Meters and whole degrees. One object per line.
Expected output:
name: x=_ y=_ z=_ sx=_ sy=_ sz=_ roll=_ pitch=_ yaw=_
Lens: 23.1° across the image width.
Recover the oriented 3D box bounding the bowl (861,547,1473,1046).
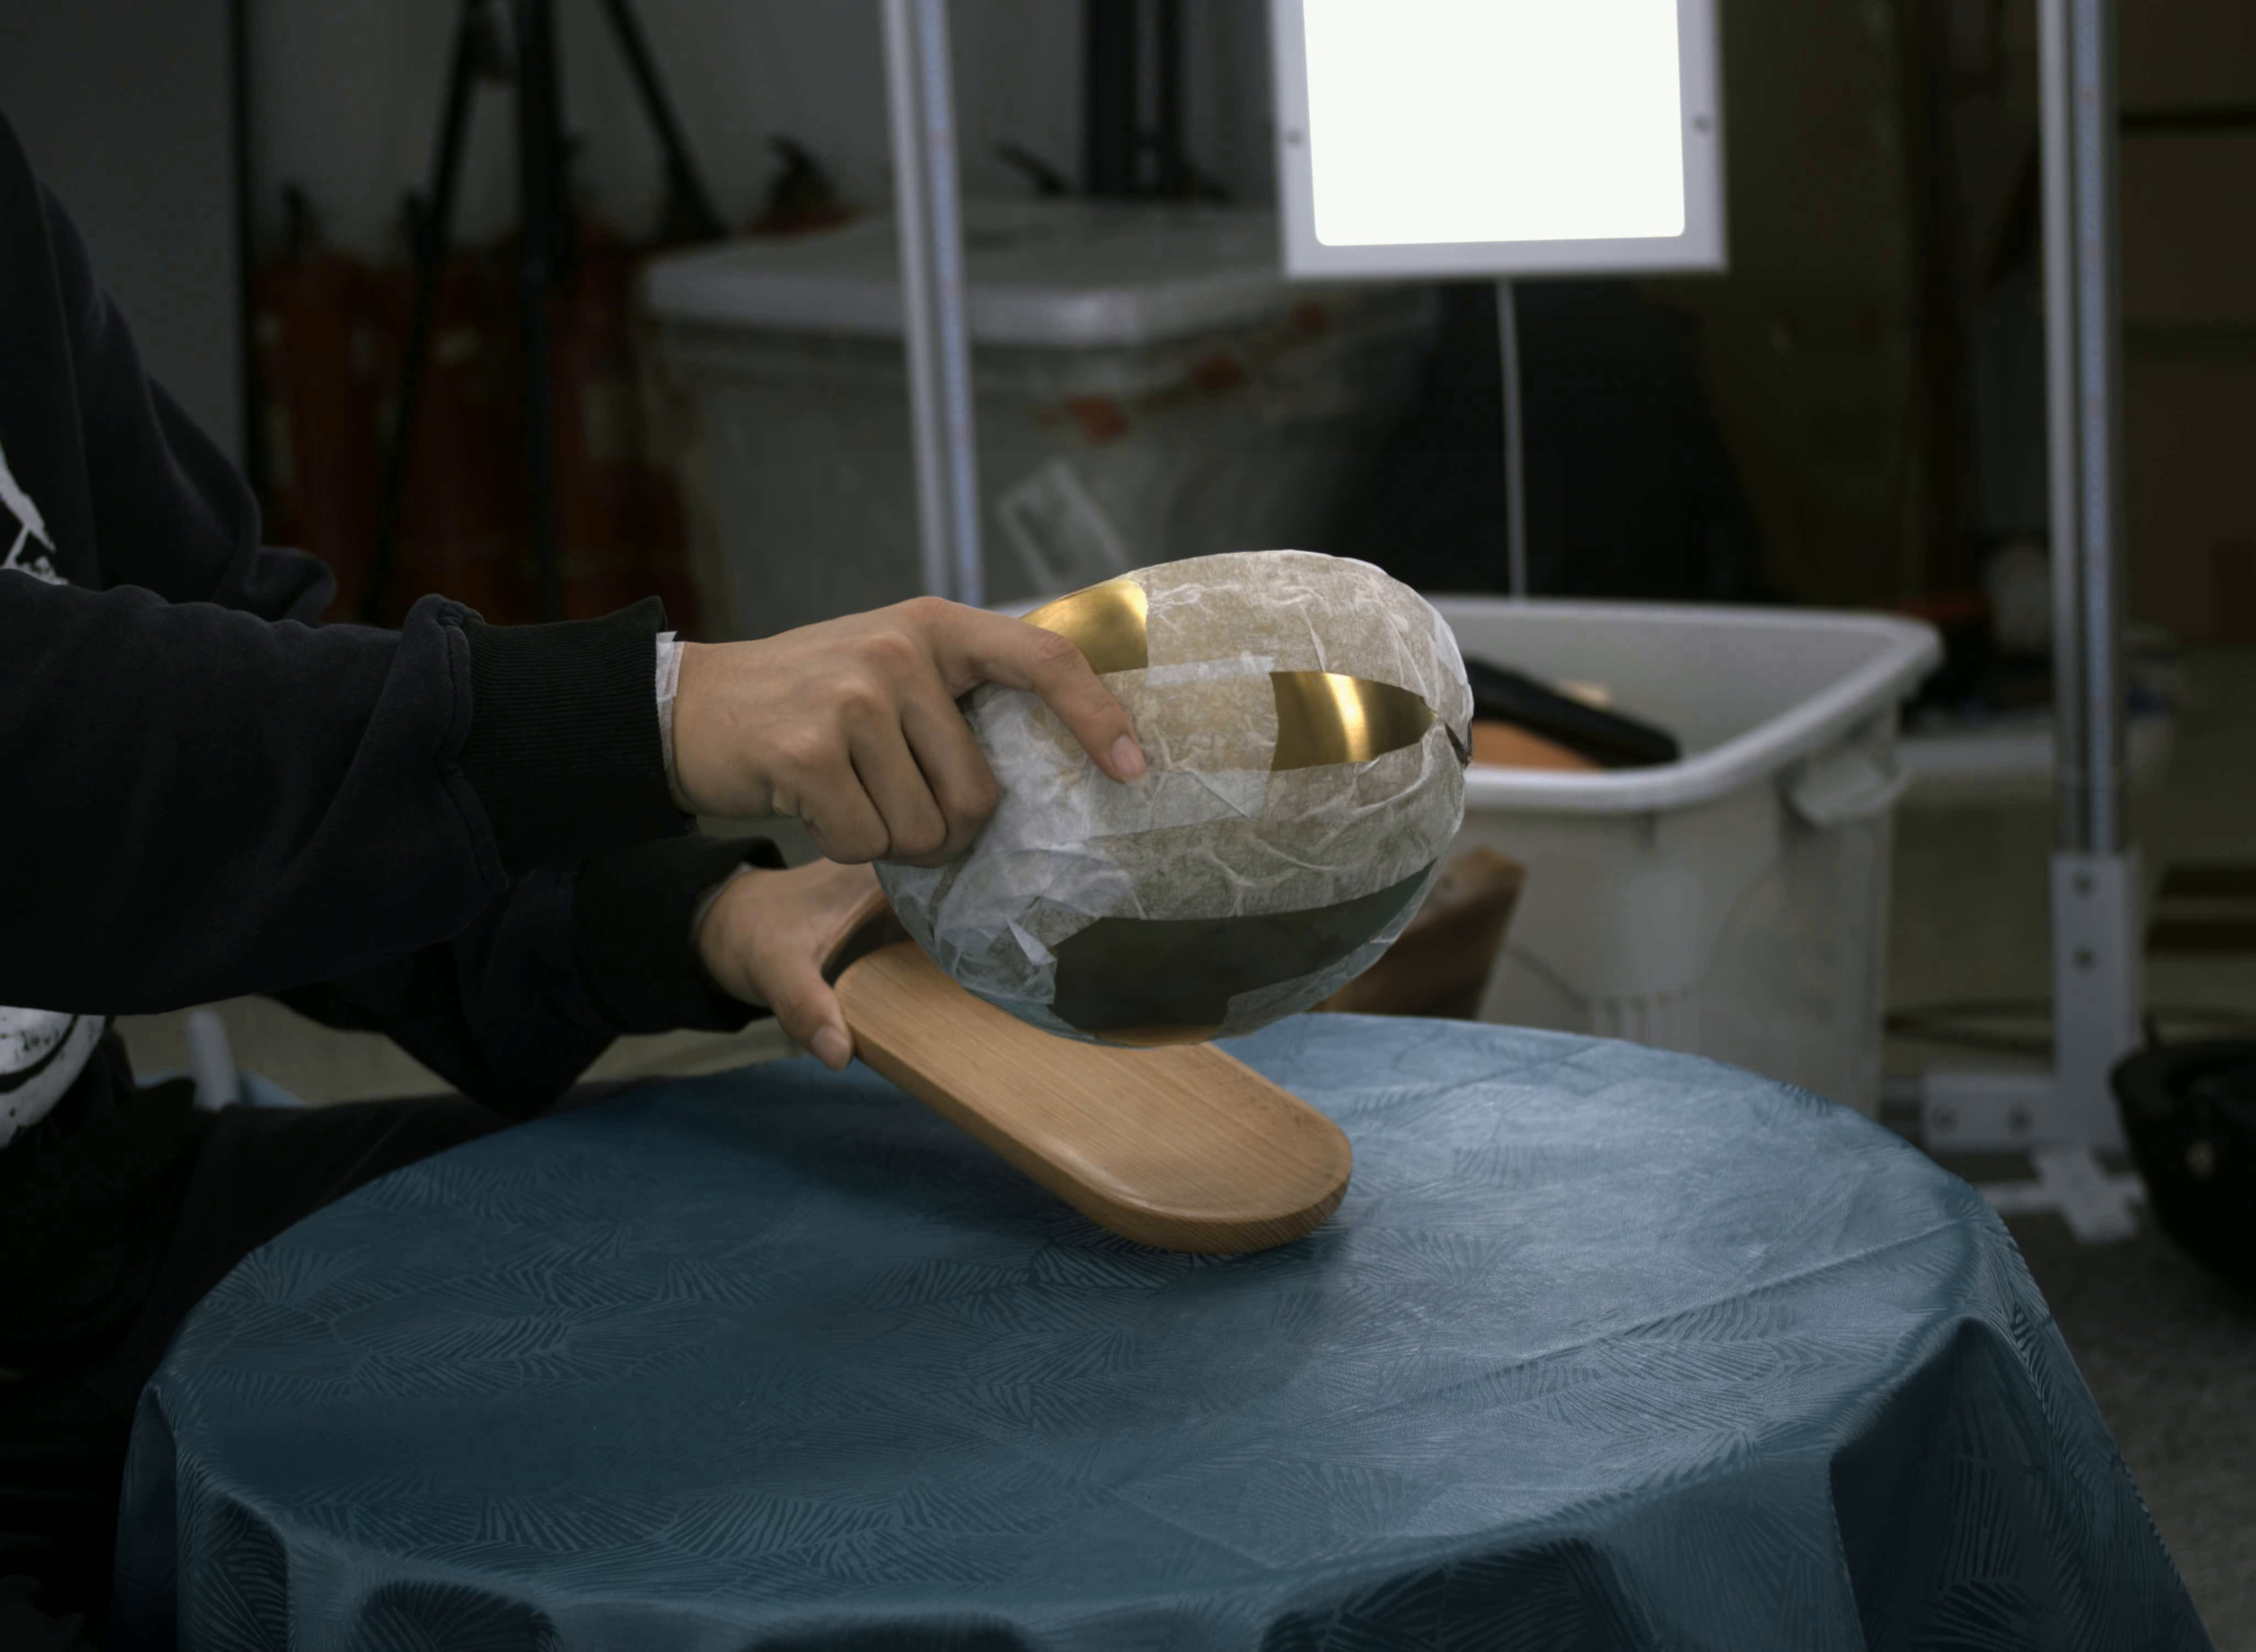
bowl: x=0.021 y=0.010 z=1.751 sx=0.211 sy=0.217 sz=0.095 roll=-8 pitch=58 yaw=-16

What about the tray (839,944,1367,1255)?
tray: x=-0.011 y=0.092 z=1.904 sx=0.099 sy=0.020 sz=0.235 roll=-19 pitch=33 yaw=-34
